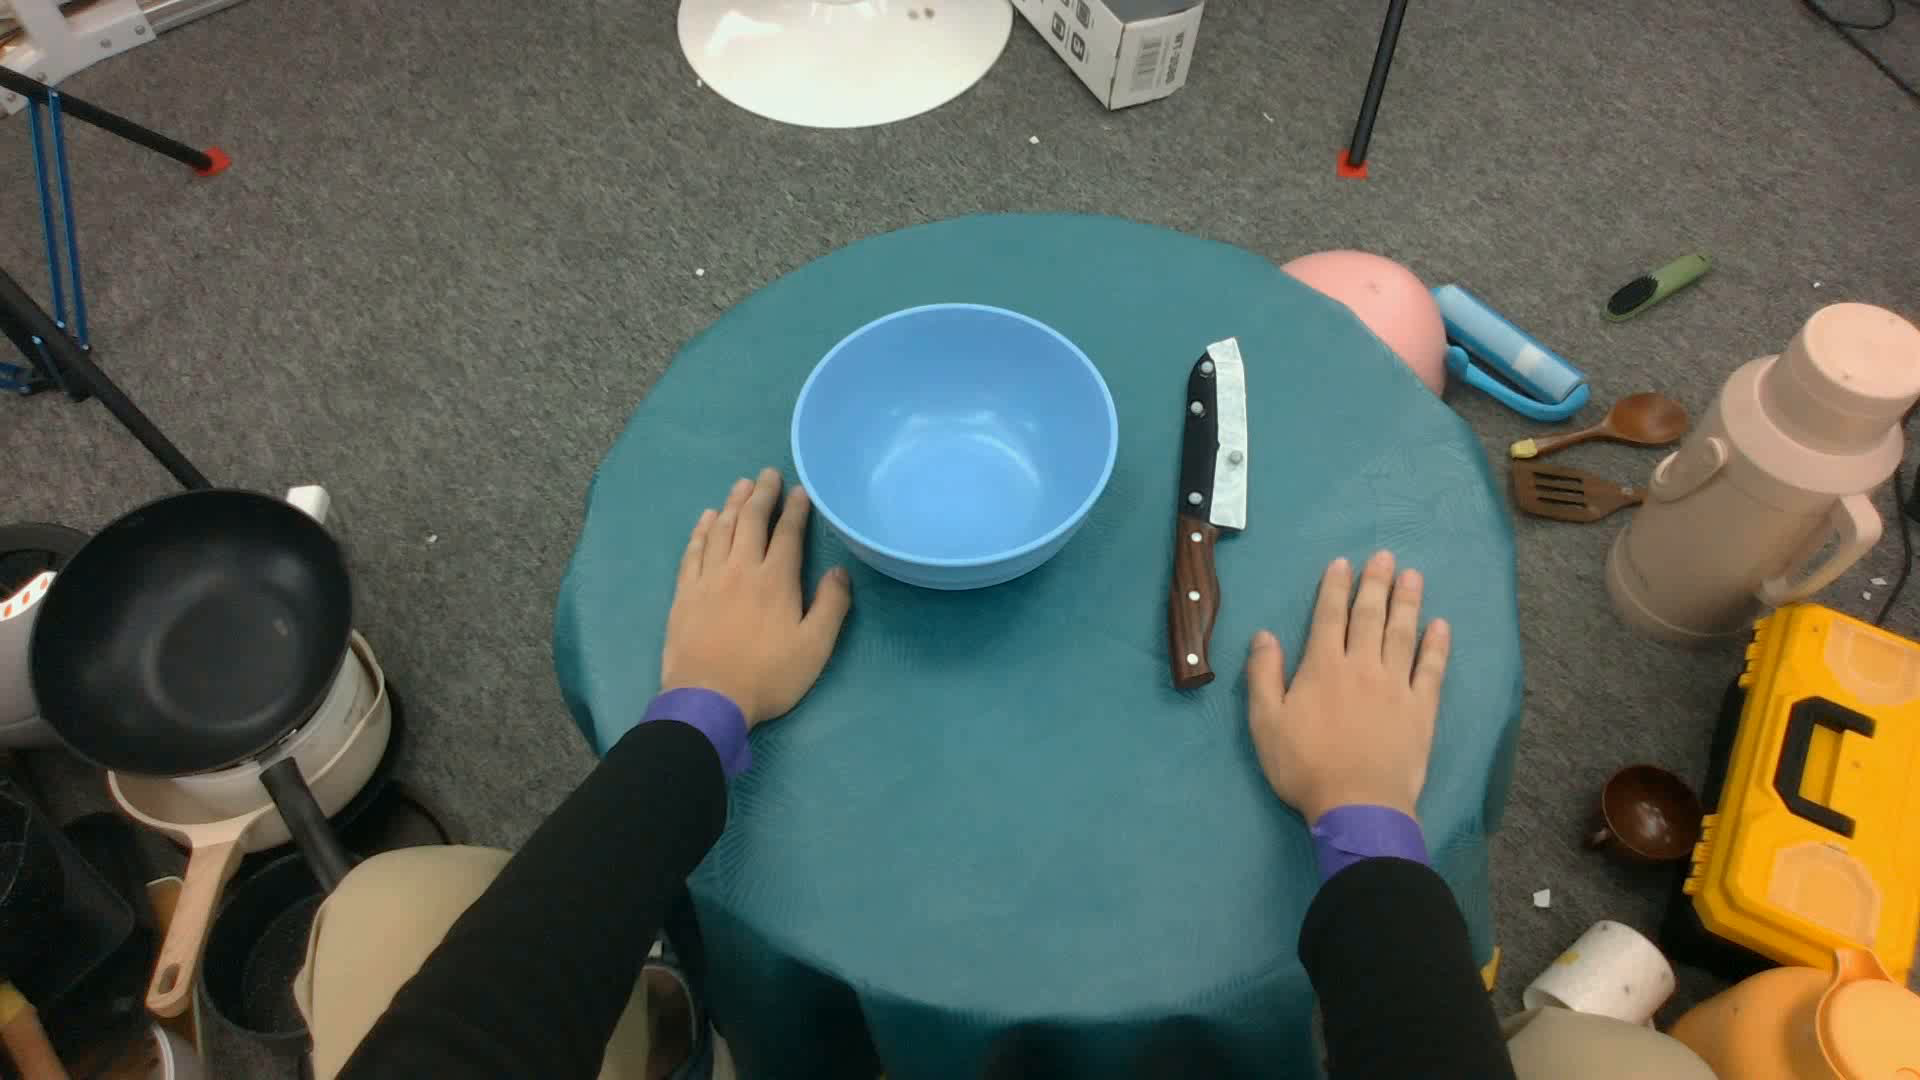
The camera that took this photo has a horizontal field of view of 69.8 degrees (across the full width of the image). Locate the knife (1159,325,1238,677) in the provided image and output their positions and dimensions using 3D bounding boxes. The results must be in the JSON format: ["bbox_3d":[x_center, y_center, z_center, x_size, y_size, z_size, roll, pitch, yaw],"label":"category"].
[{"bbox_3d":[0.157,-0.037,0.898,0.050,0.020,0.290,12,56,2],"label":"knife"}]

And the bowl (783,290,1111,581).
[{"bbox_3d":[-0.008,-0.051,0.862,0.196,0.095,0.197,0,59,0],"label":"bowl"}]
